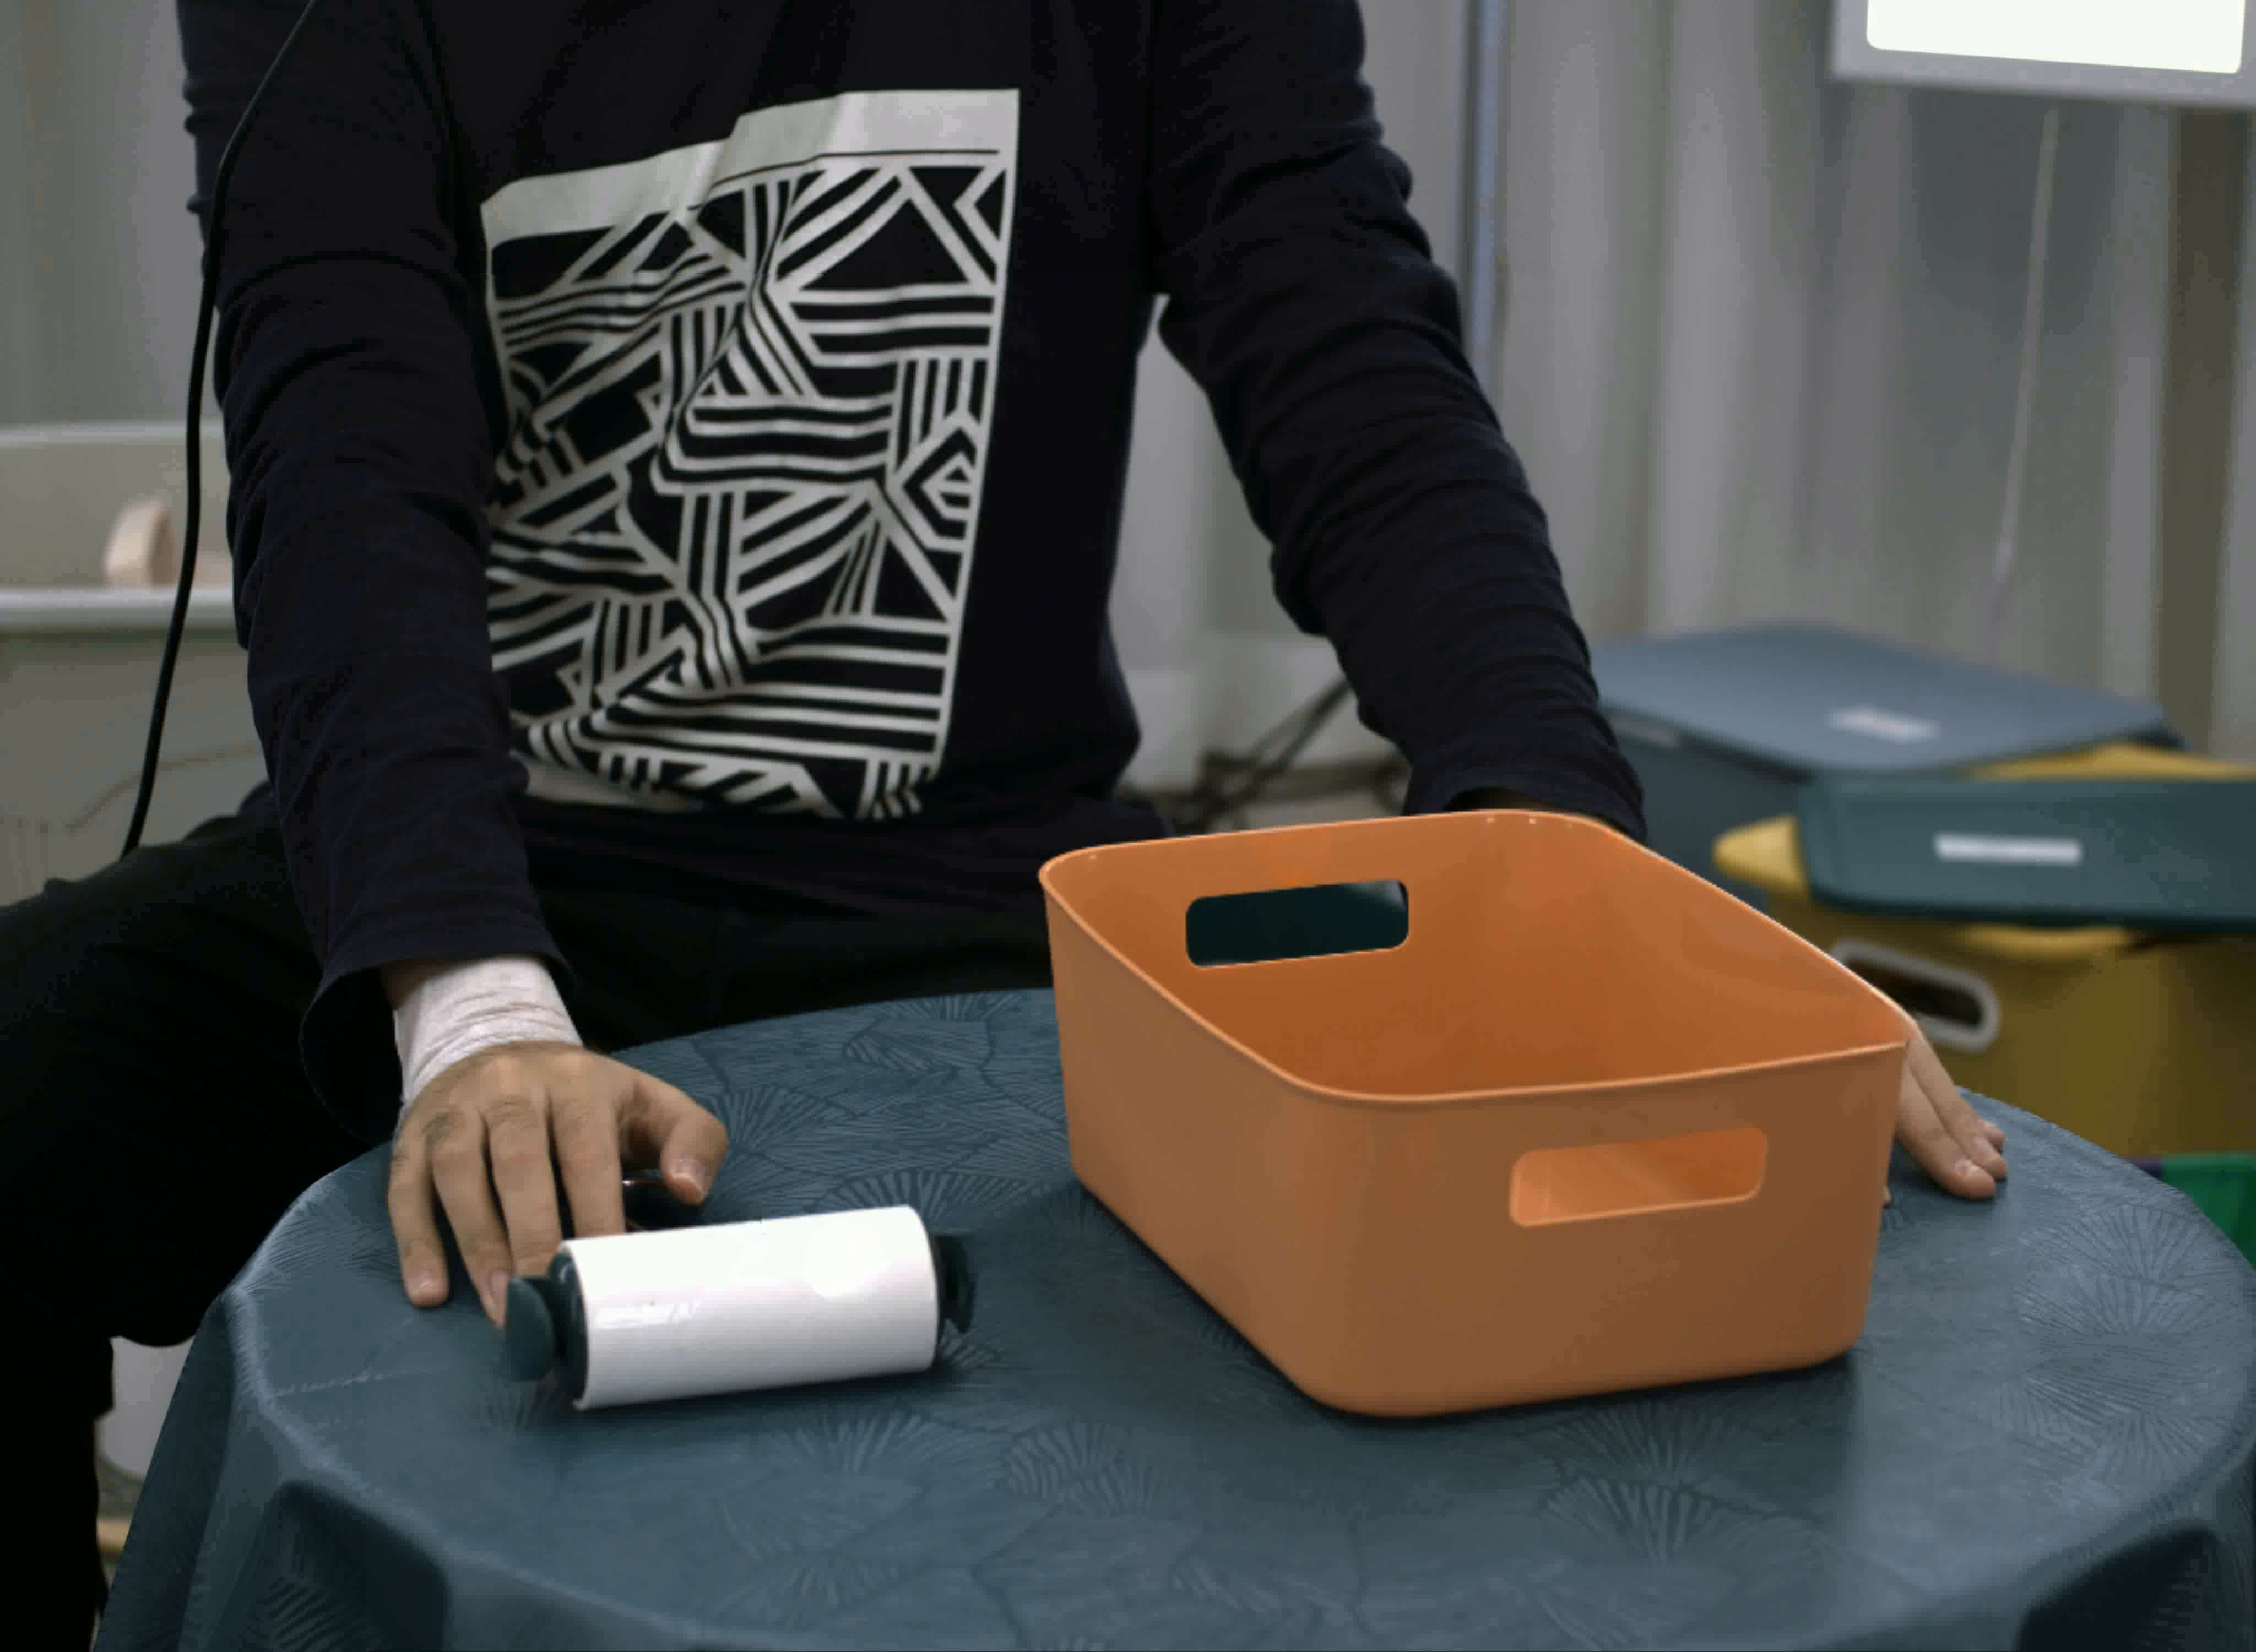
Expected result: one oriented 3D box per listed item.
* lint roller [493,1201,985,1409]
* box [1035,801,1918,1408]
[{"bbox_3d":[-0.128,0.120,1.518,0.134,0.048,0.178,-5,12,-17],"label":"lint roller"},{"bbox_3d":[0.095,0.079,1.551,0.200,0.103,0.270,-5,16,-20],"label":"box"}]
